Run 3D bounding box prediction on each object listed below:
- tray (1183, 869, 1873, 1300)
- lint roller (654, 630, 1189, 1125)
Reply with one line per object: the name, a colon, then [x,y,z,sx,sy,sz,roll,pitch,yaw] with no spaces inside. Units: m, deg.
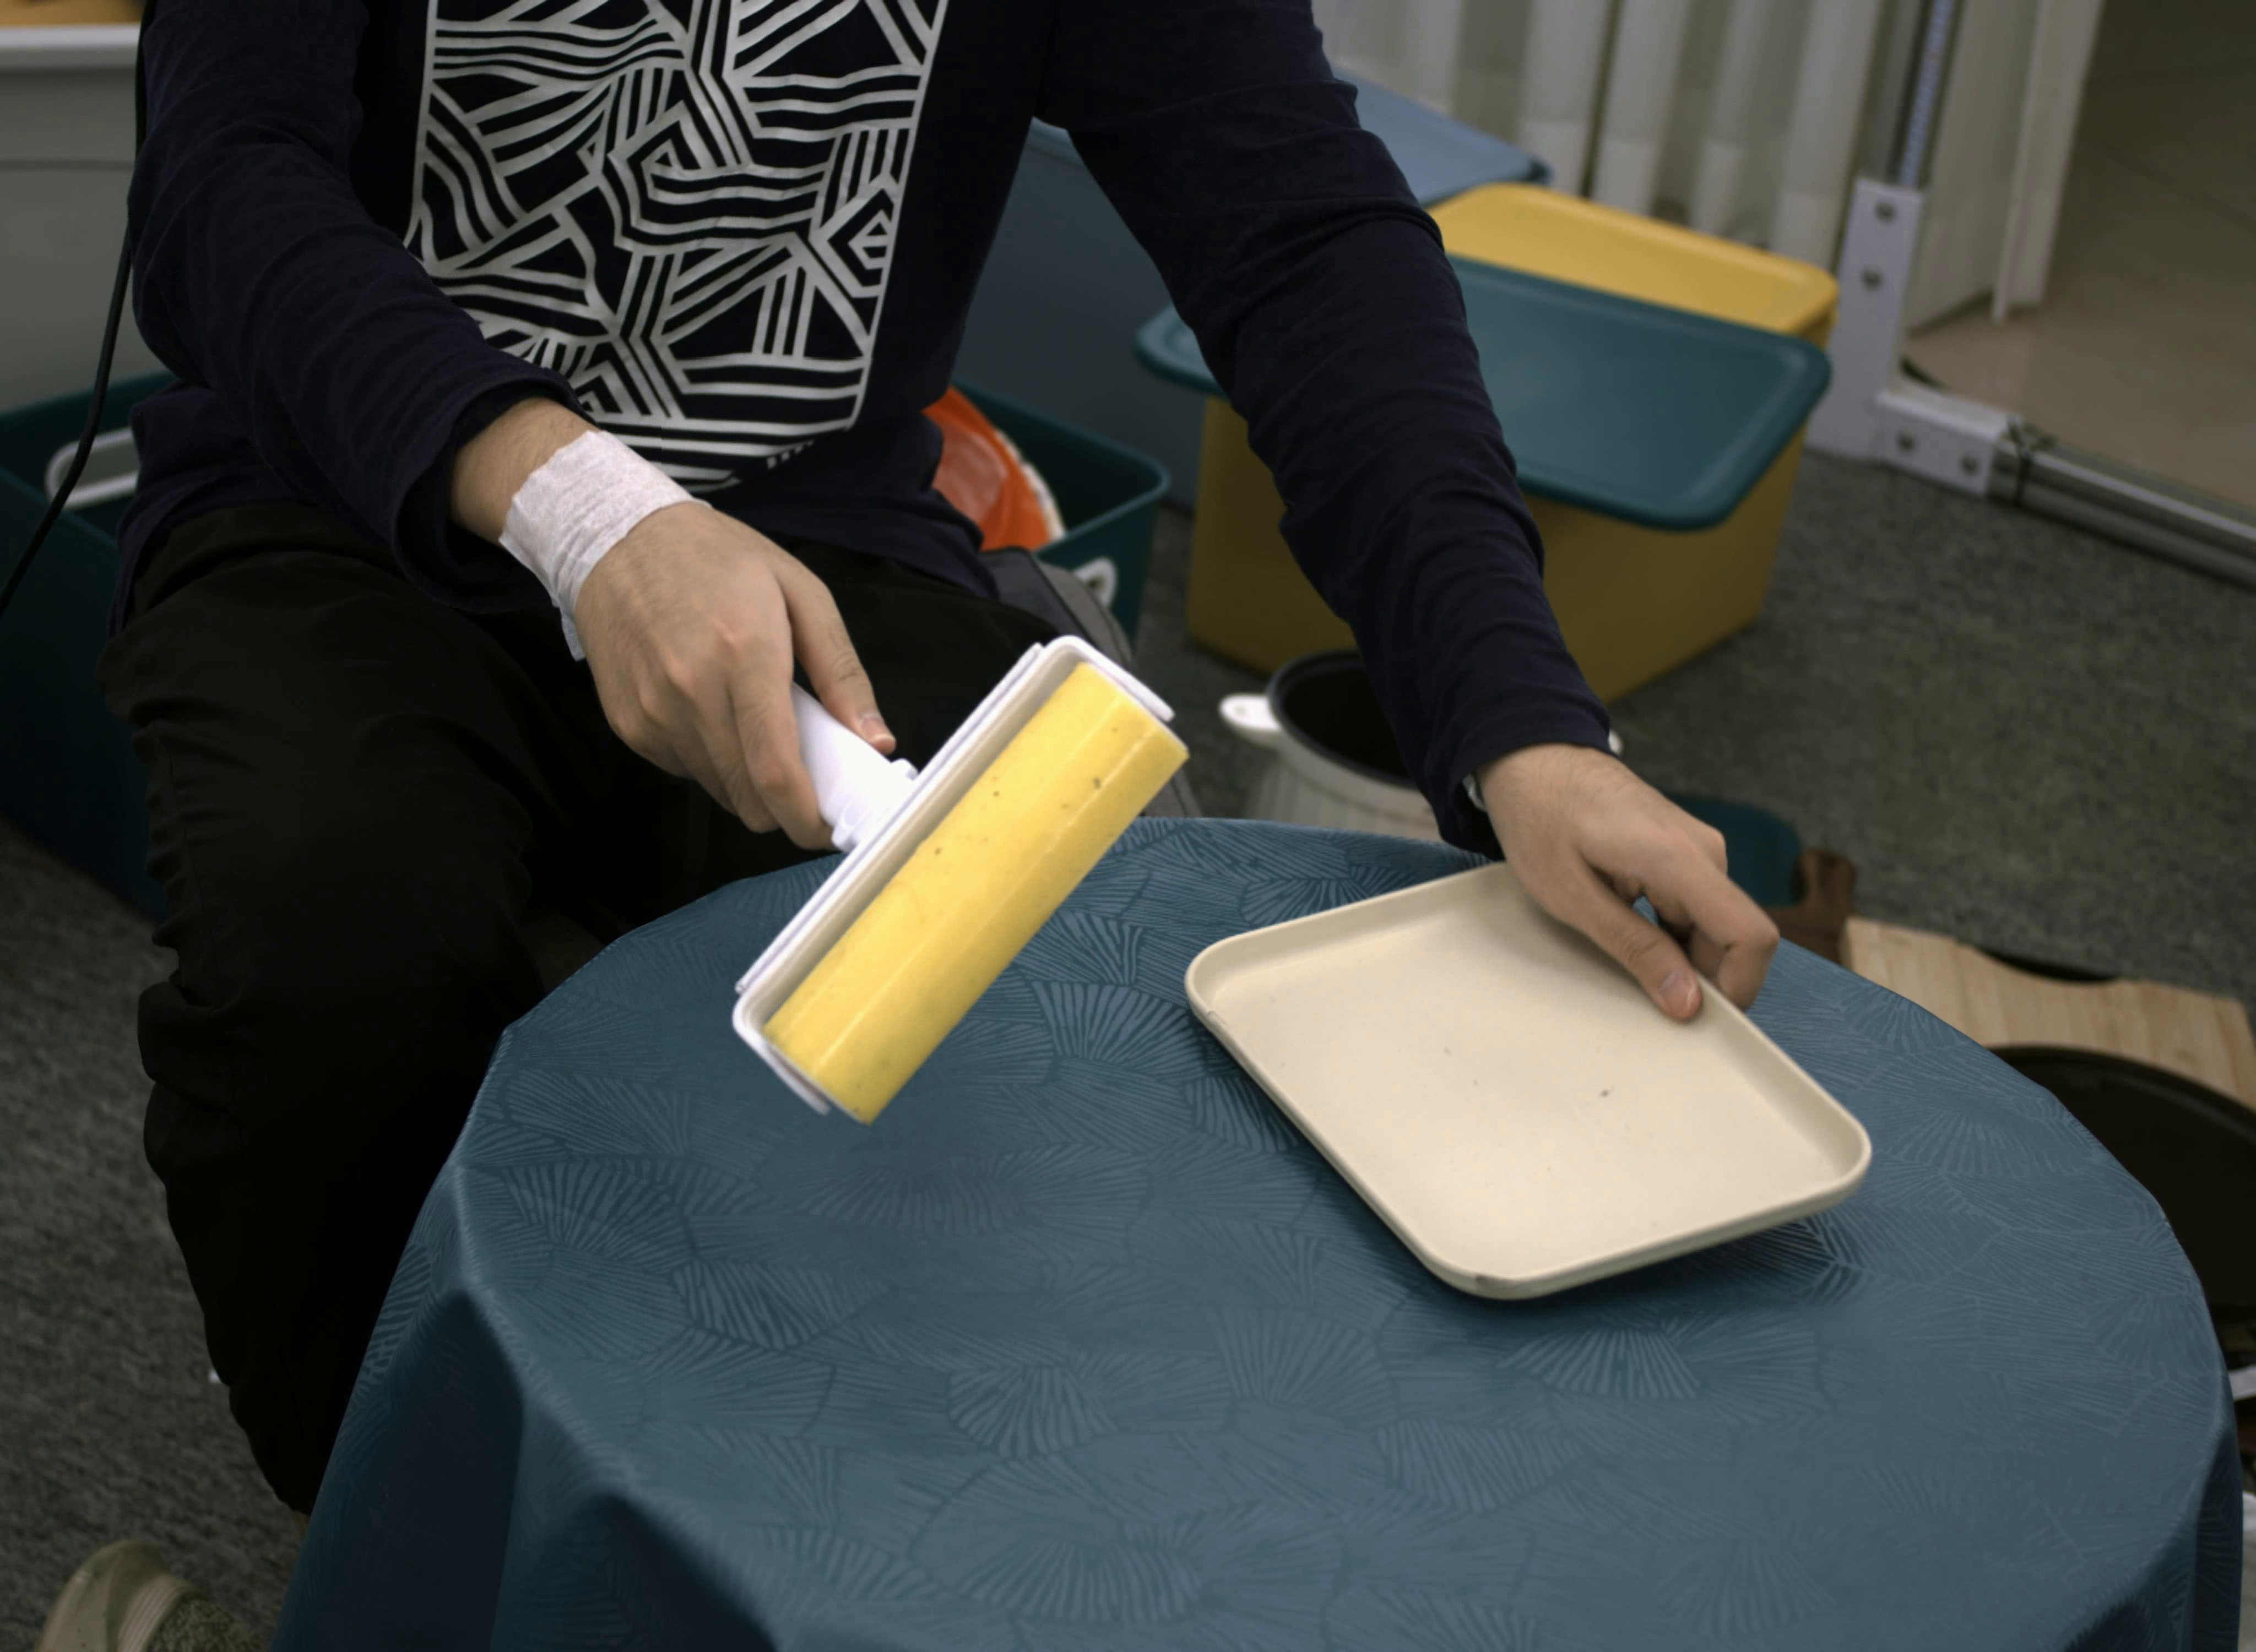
tray: [0.137,0.089,1.866,0.170,0.017,0.242,-13,32,-22]
lint roller: [-0.098,-0.016,1.765,0.193,0.174,0.051,38,-6,30]
